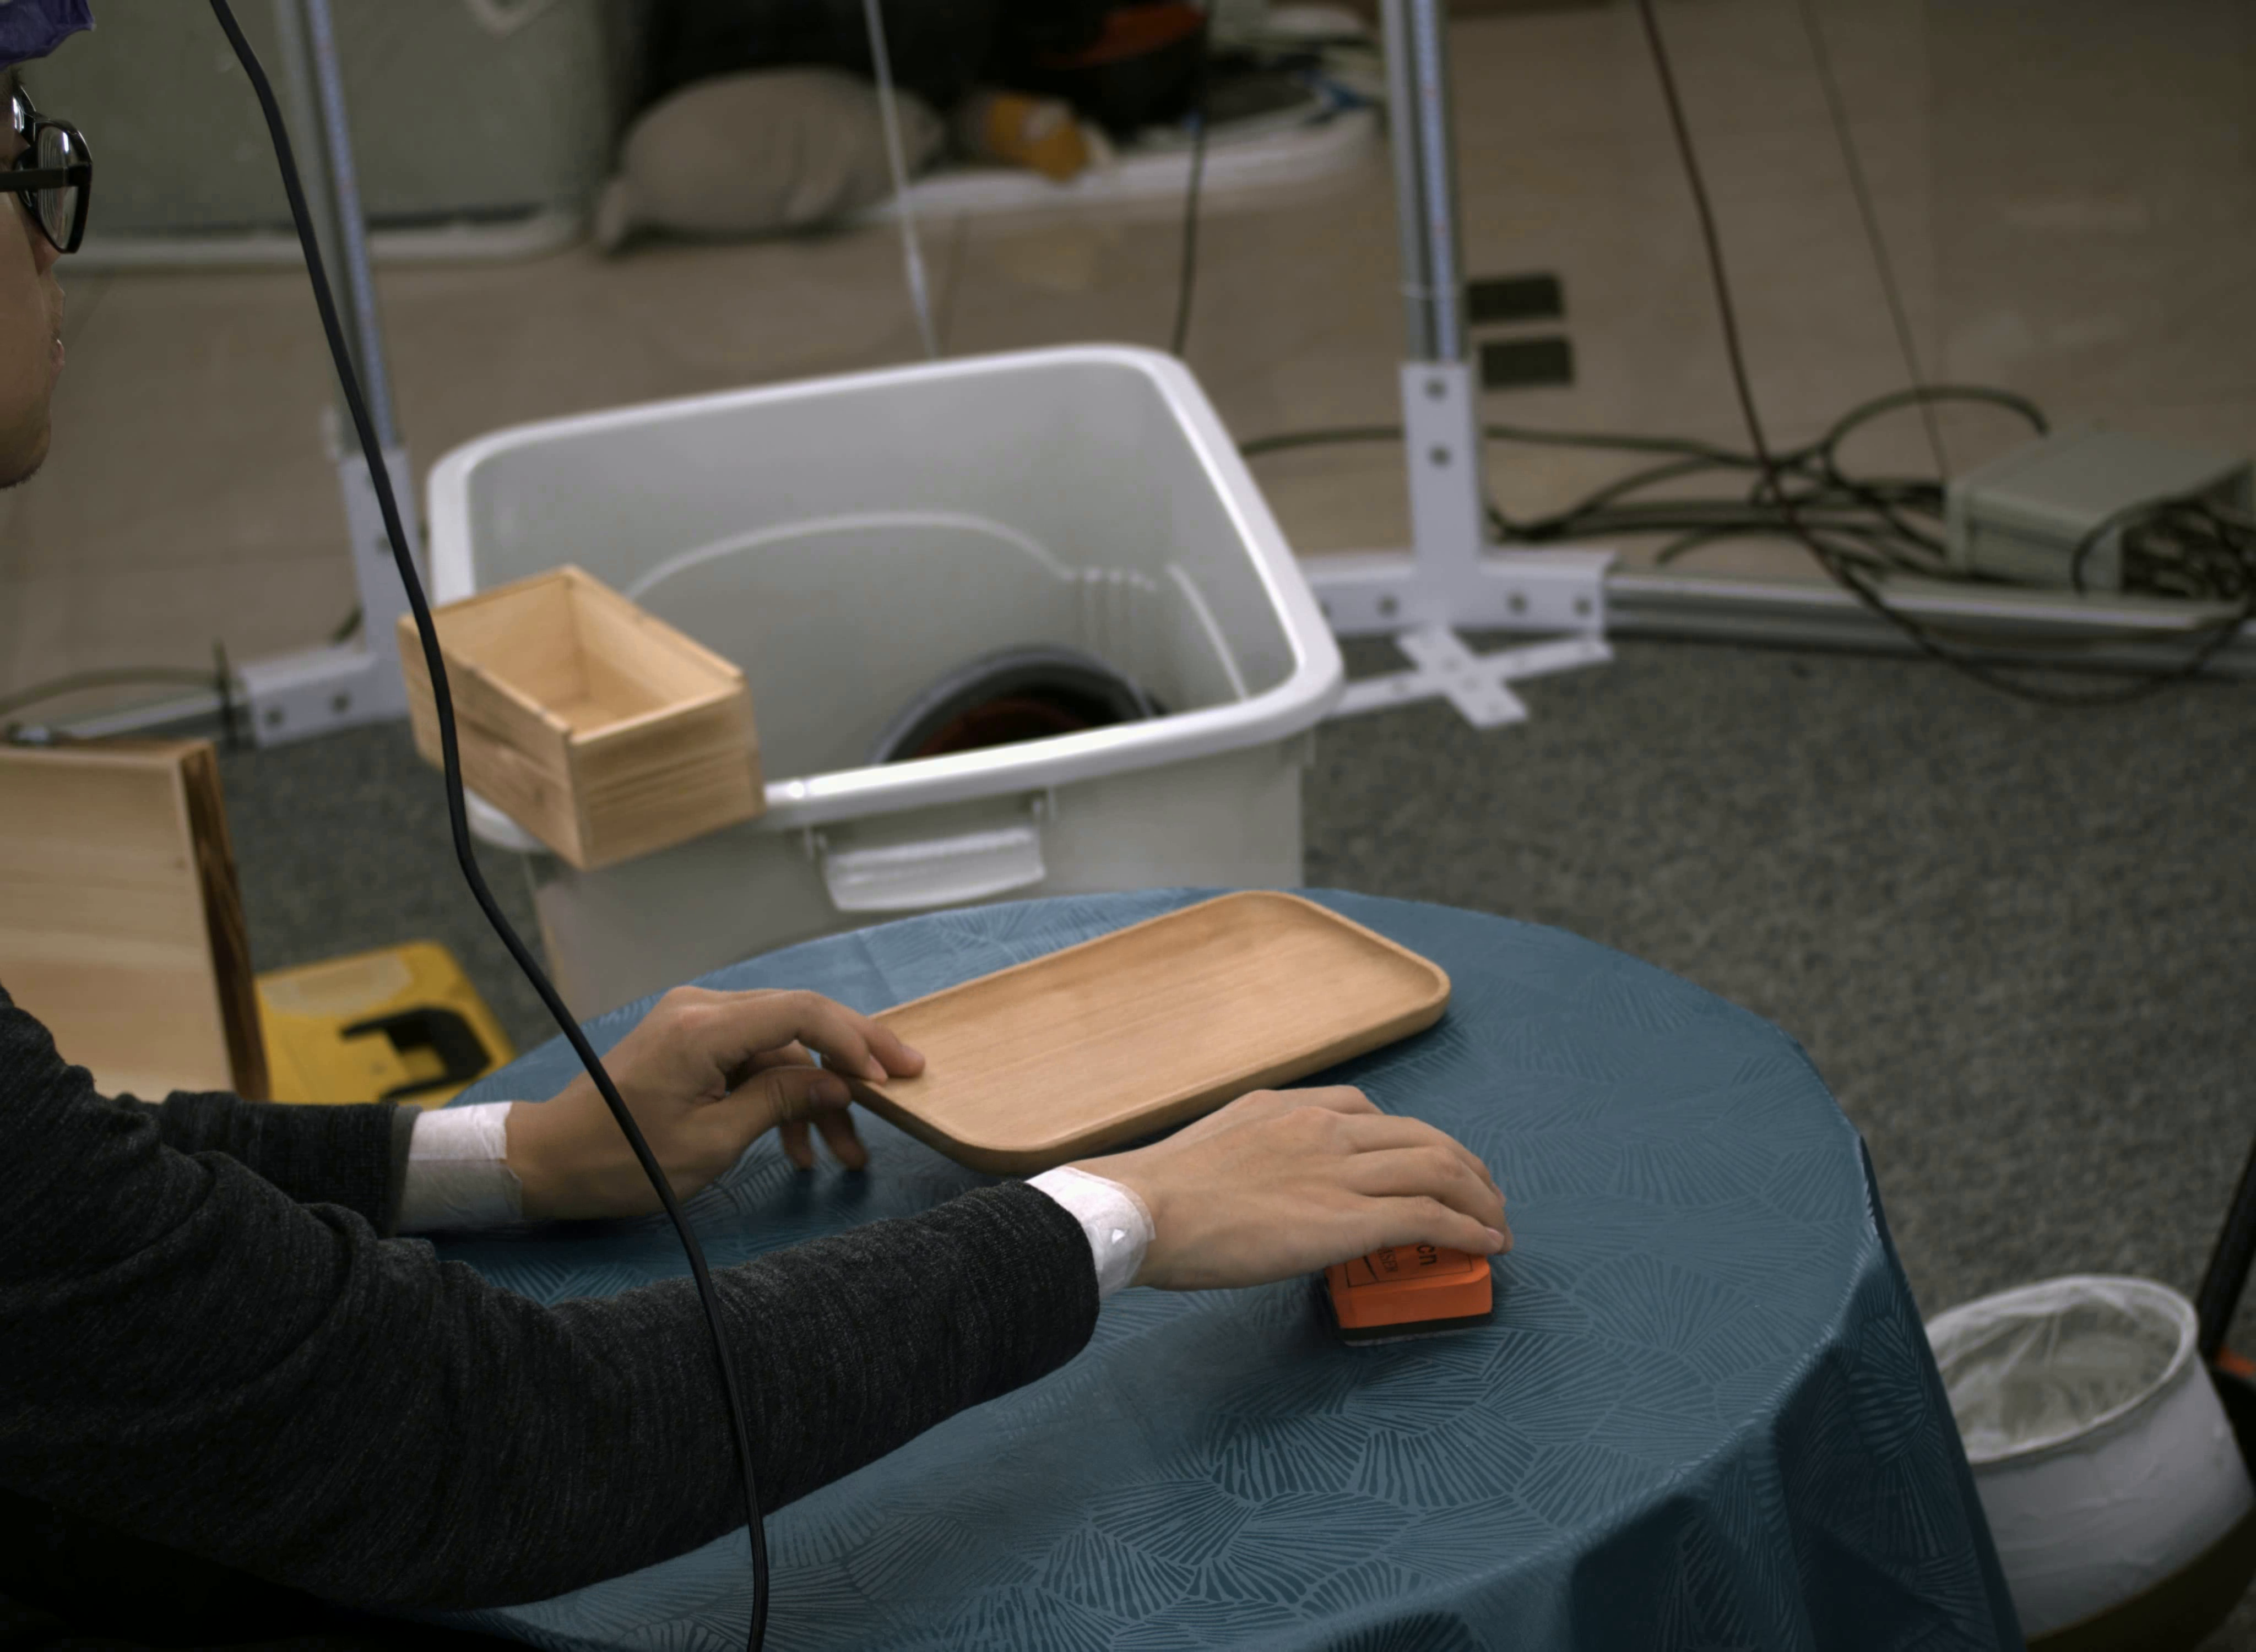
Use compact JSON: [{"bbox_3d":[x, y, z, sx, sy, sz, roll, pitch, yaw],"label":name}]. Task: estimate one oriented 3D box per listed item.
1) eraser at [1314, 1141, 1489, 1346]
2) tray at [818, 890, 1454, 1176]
[{"bbox_3d":[0.099,0.151,2.069,0.059,0.023,0.106,-8,25,1],"label":"eraser"},{"bbox_3d":[0.005,0.079,2.216,0.249,0.023,0.129,-18,30,-36],"label":"tray"}]
